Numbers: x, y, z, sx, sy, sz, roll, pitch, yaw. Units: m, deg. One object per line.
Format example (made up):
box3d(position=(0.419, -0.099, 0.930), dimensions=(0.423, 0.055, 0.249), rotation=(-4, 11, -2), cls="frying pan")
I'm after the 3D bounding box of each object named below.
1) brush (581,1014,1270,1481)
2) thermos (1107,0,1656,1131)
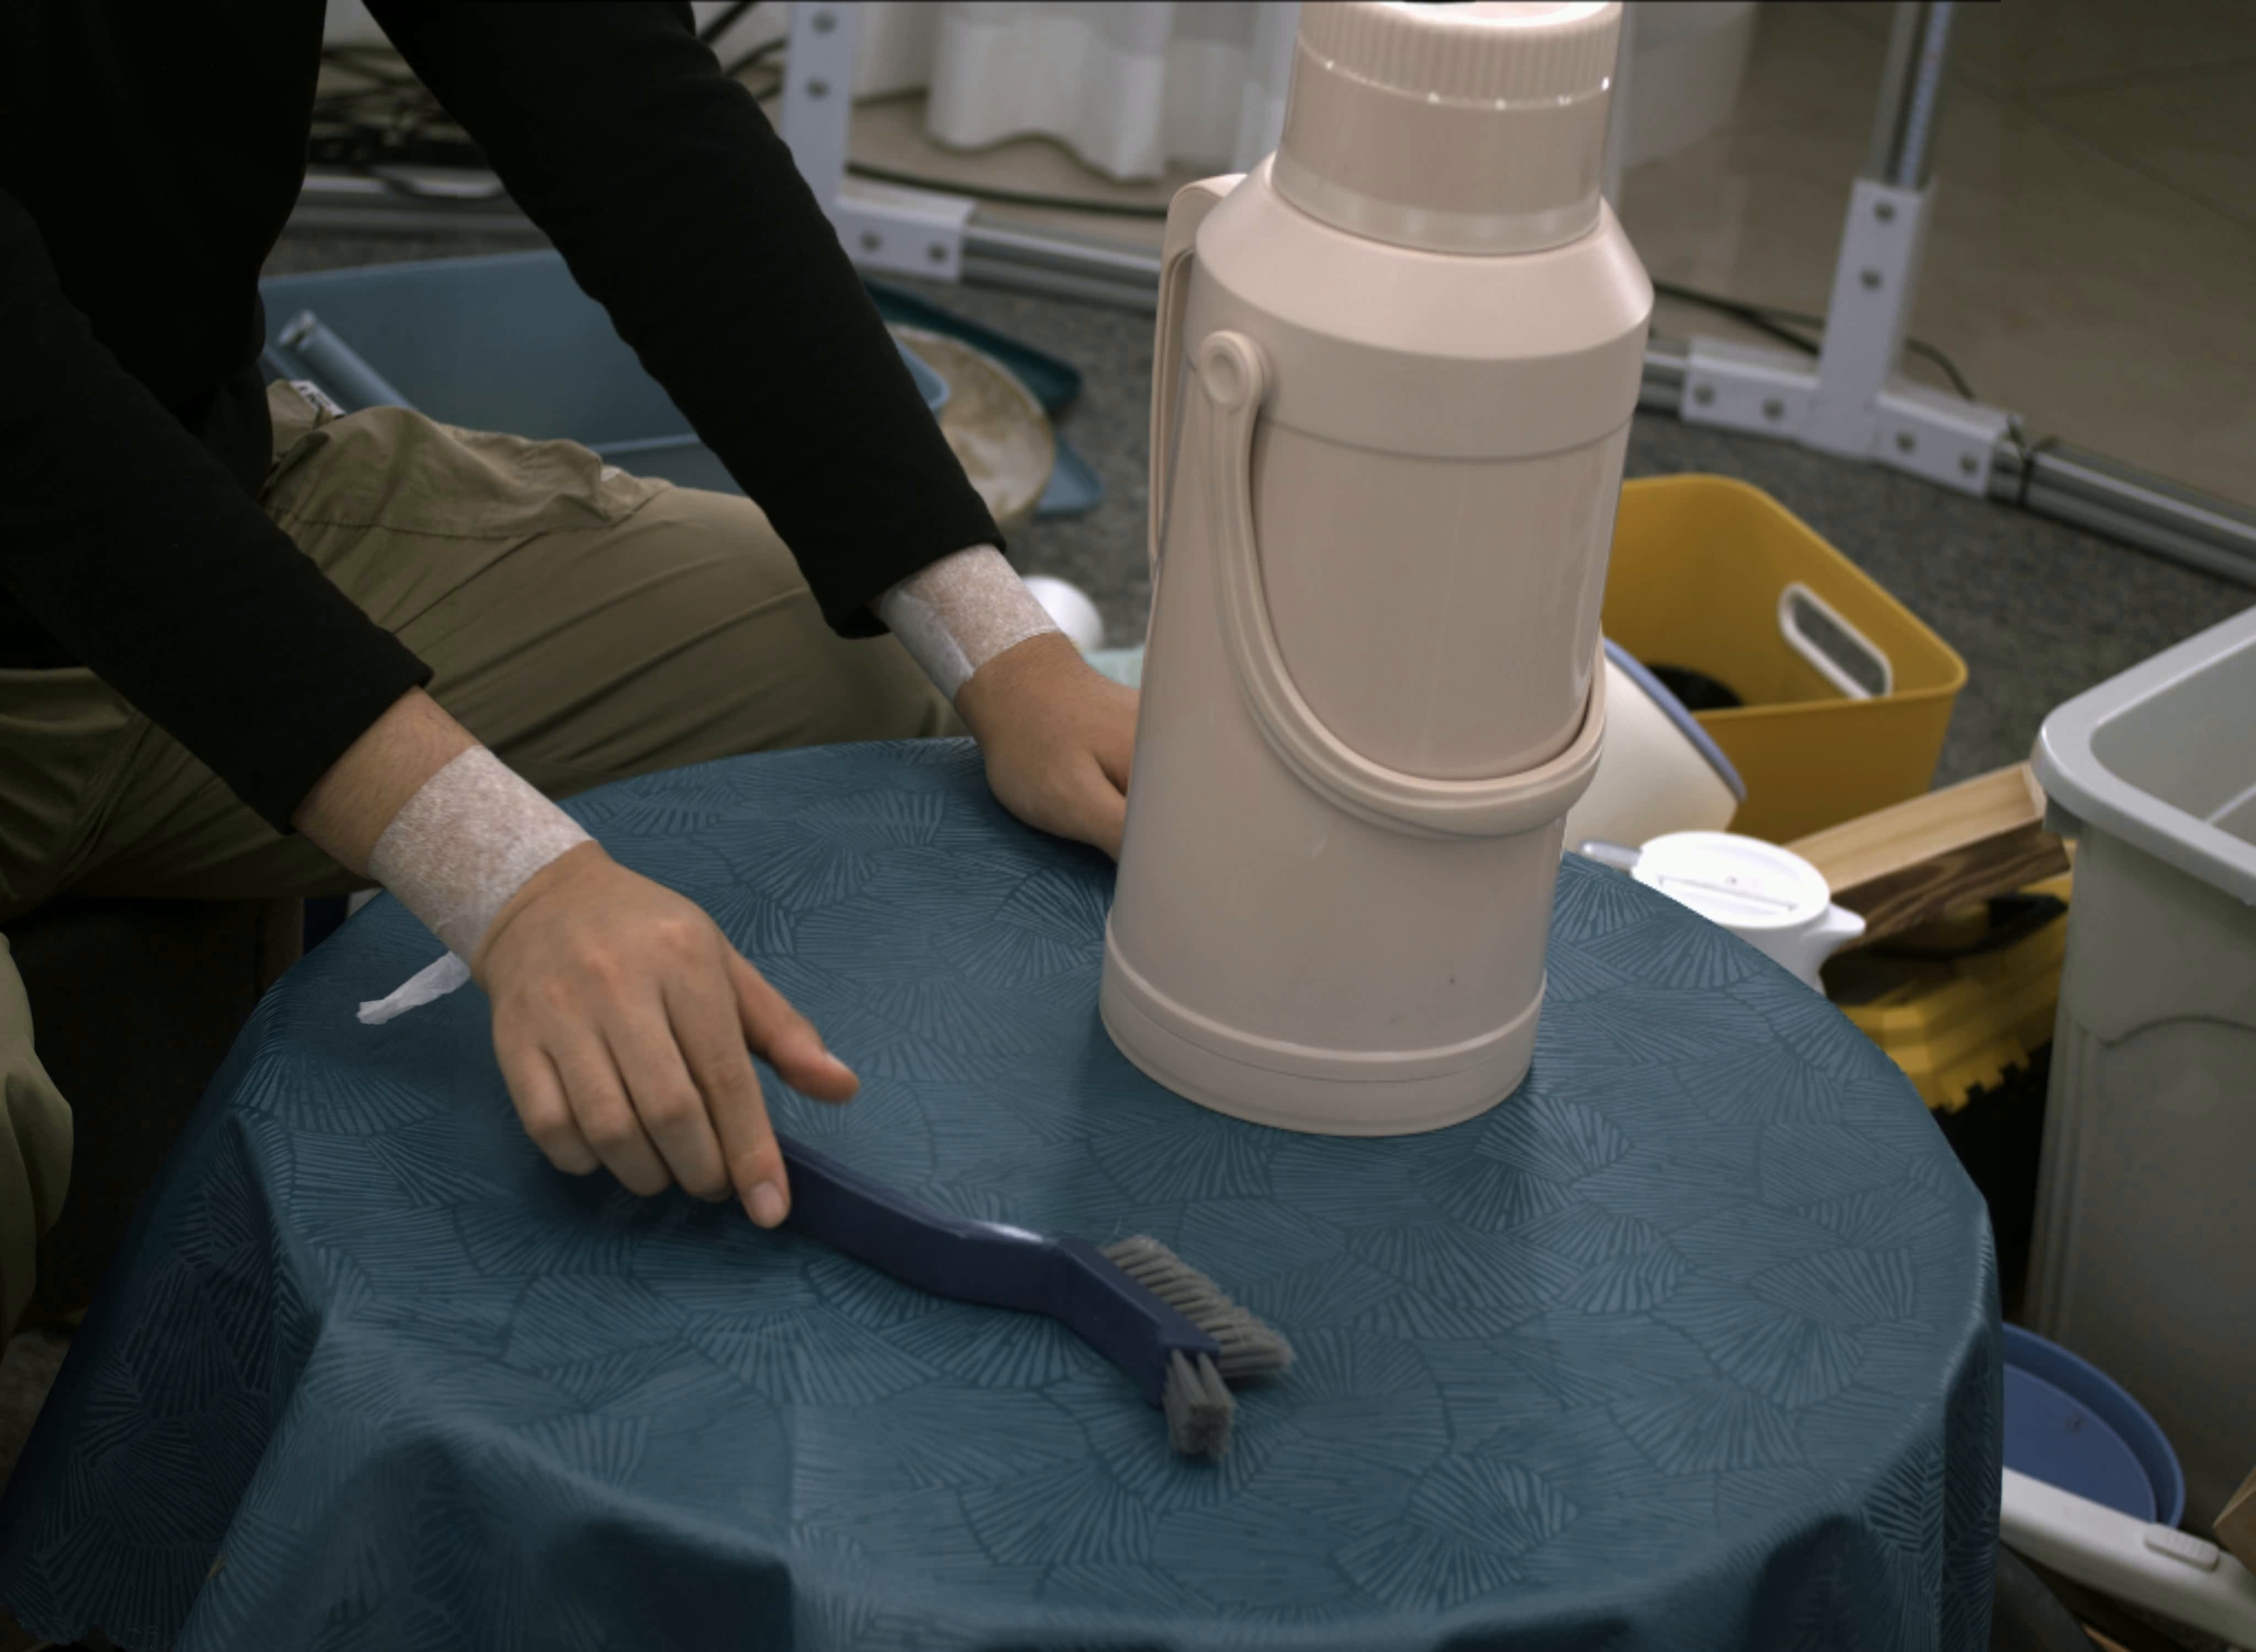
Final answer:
box3d(position=(-0.079, 0.133, 1.730), dimensions=(0.274, 0.033, 0.095), rotation=(21, 29, 21), cls="brush")
box3d(position=(0.082, -0.110, 1.843), dimensions=(0.174, 0.405, 0.209), rotation=(-18, 36, -37), cls="thermos")
